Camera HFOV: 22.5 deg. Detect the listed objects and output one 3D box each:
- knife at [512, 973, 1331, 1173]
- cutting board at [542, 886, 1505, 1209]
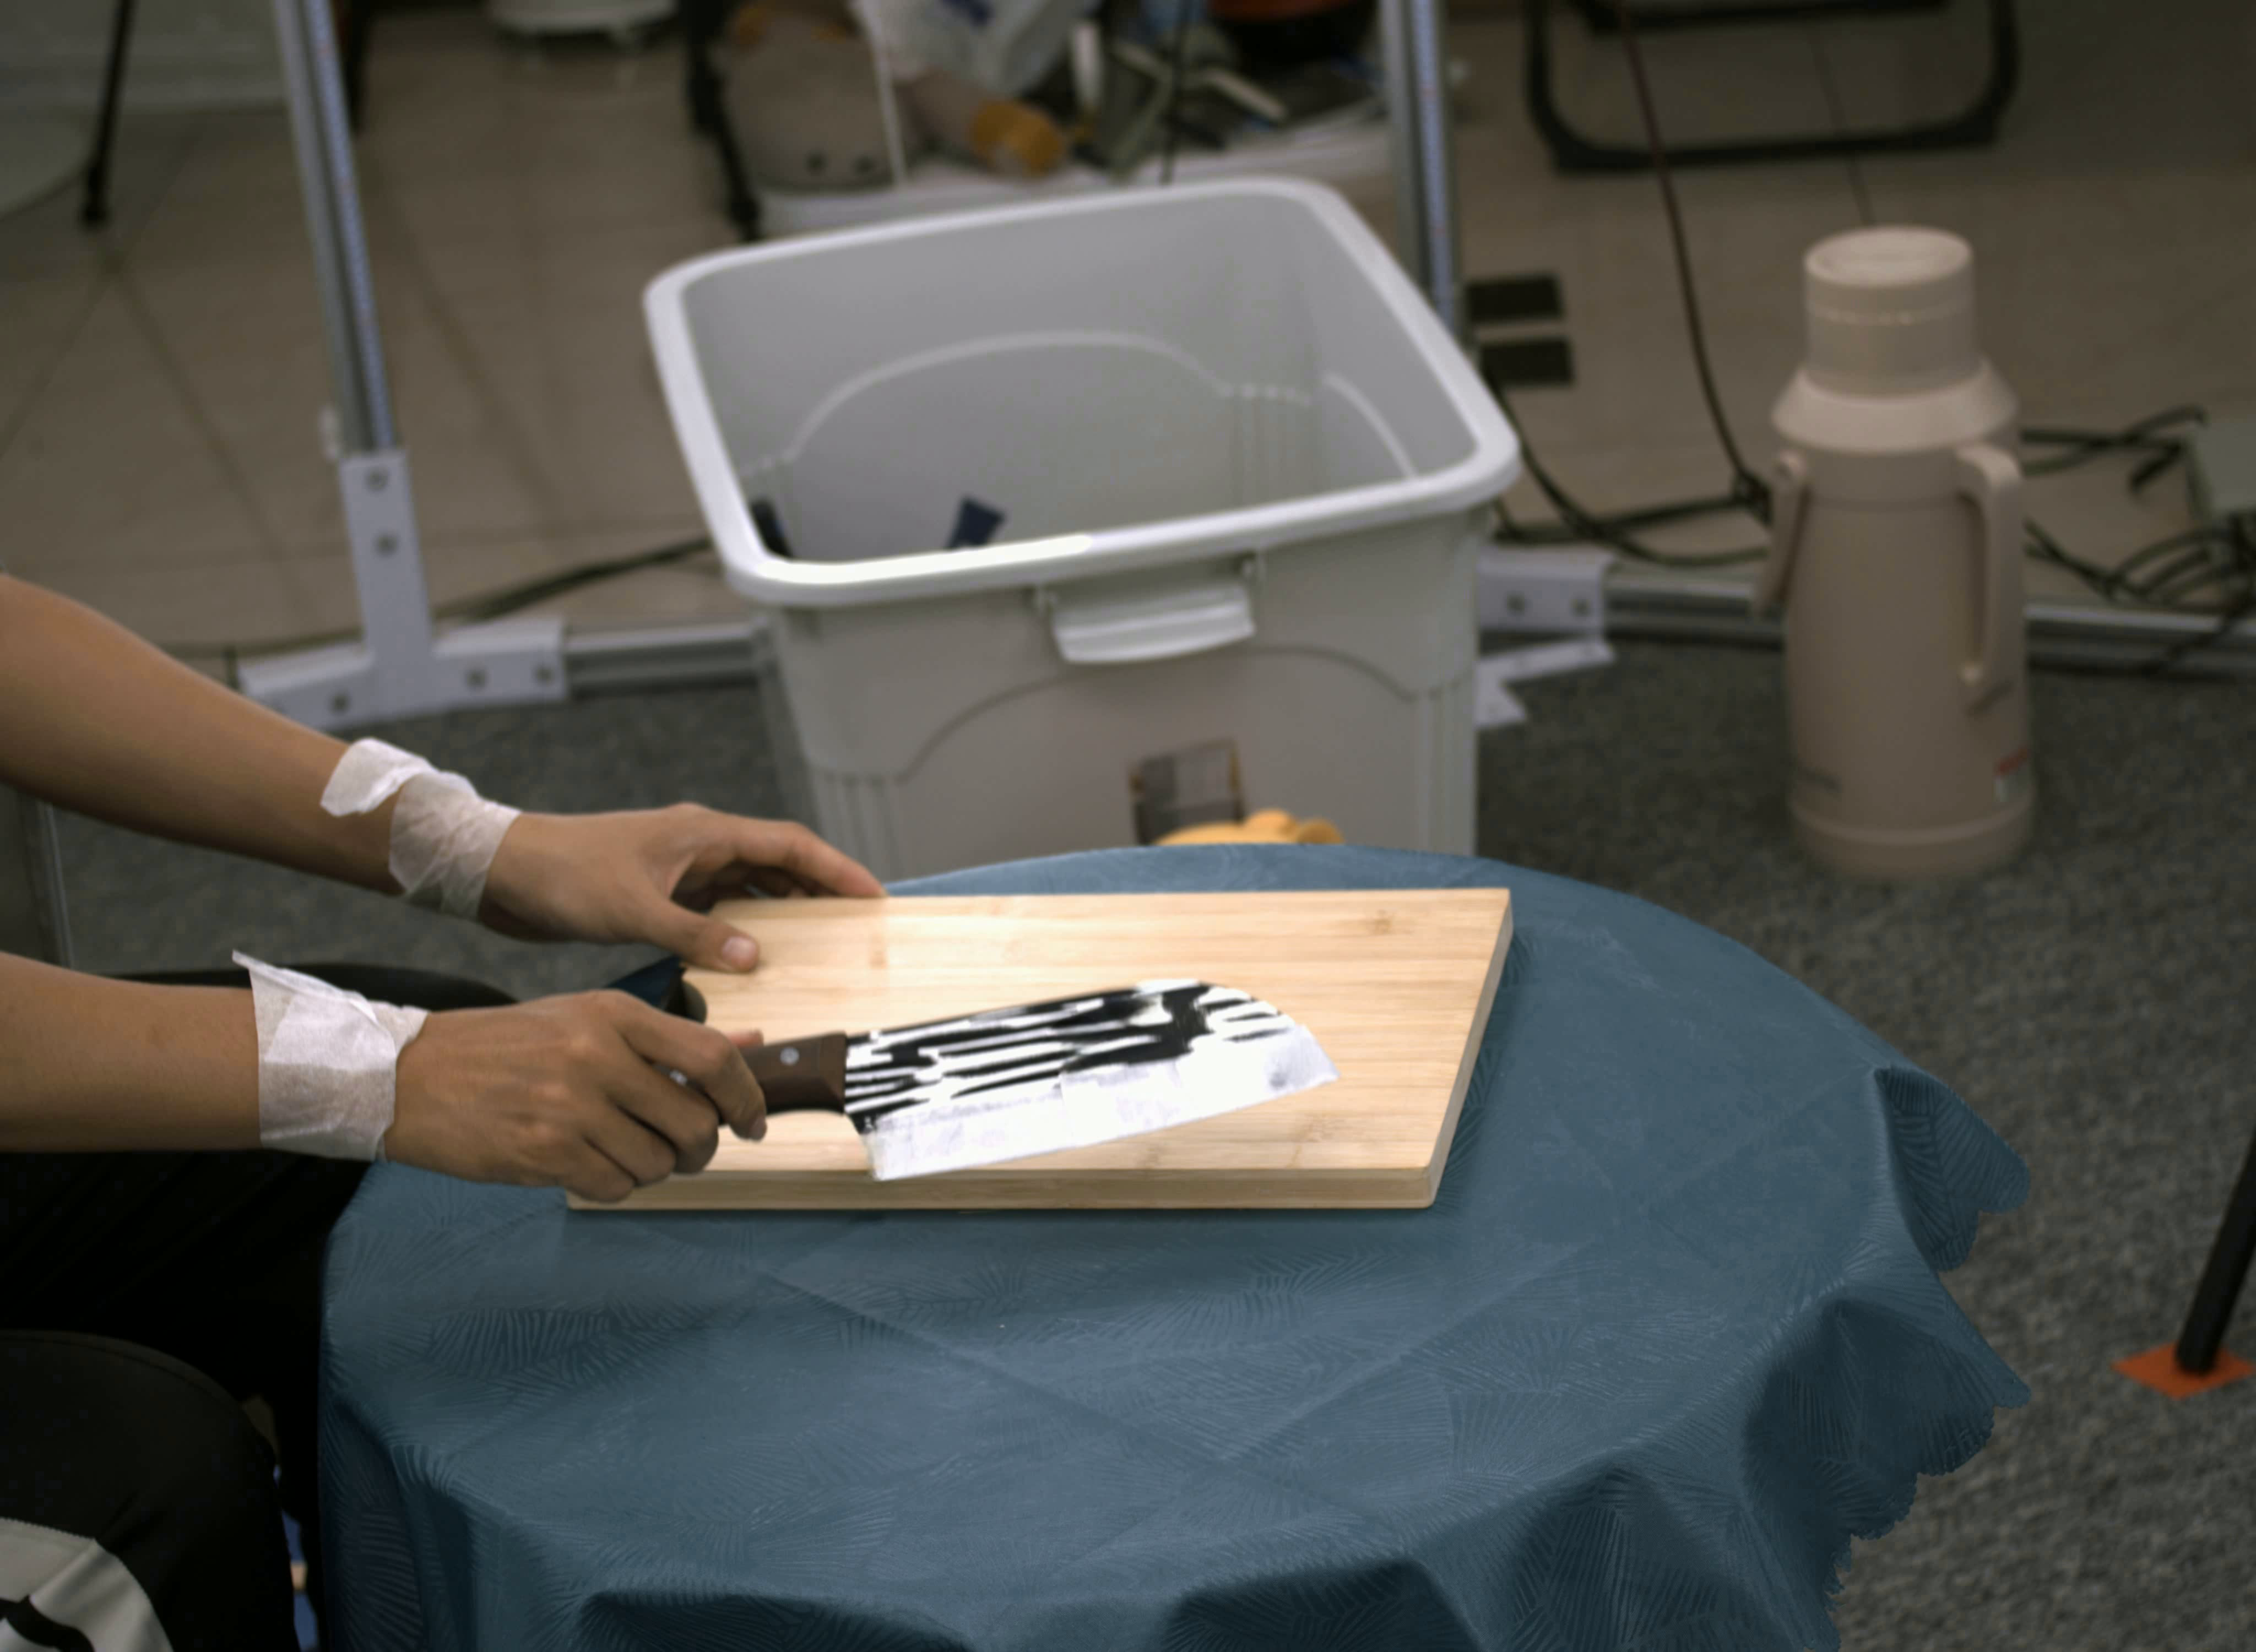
[{"bbox_3d":[-0.076,0.096,2.084,0.299,0.024,0.067,-9,55,-4],"label":"knife"},{"bbox_3d":[-0.036,0.087,2.253,0.348,0.024,0.247,-1,25,12],"label":"cutting board"}]
